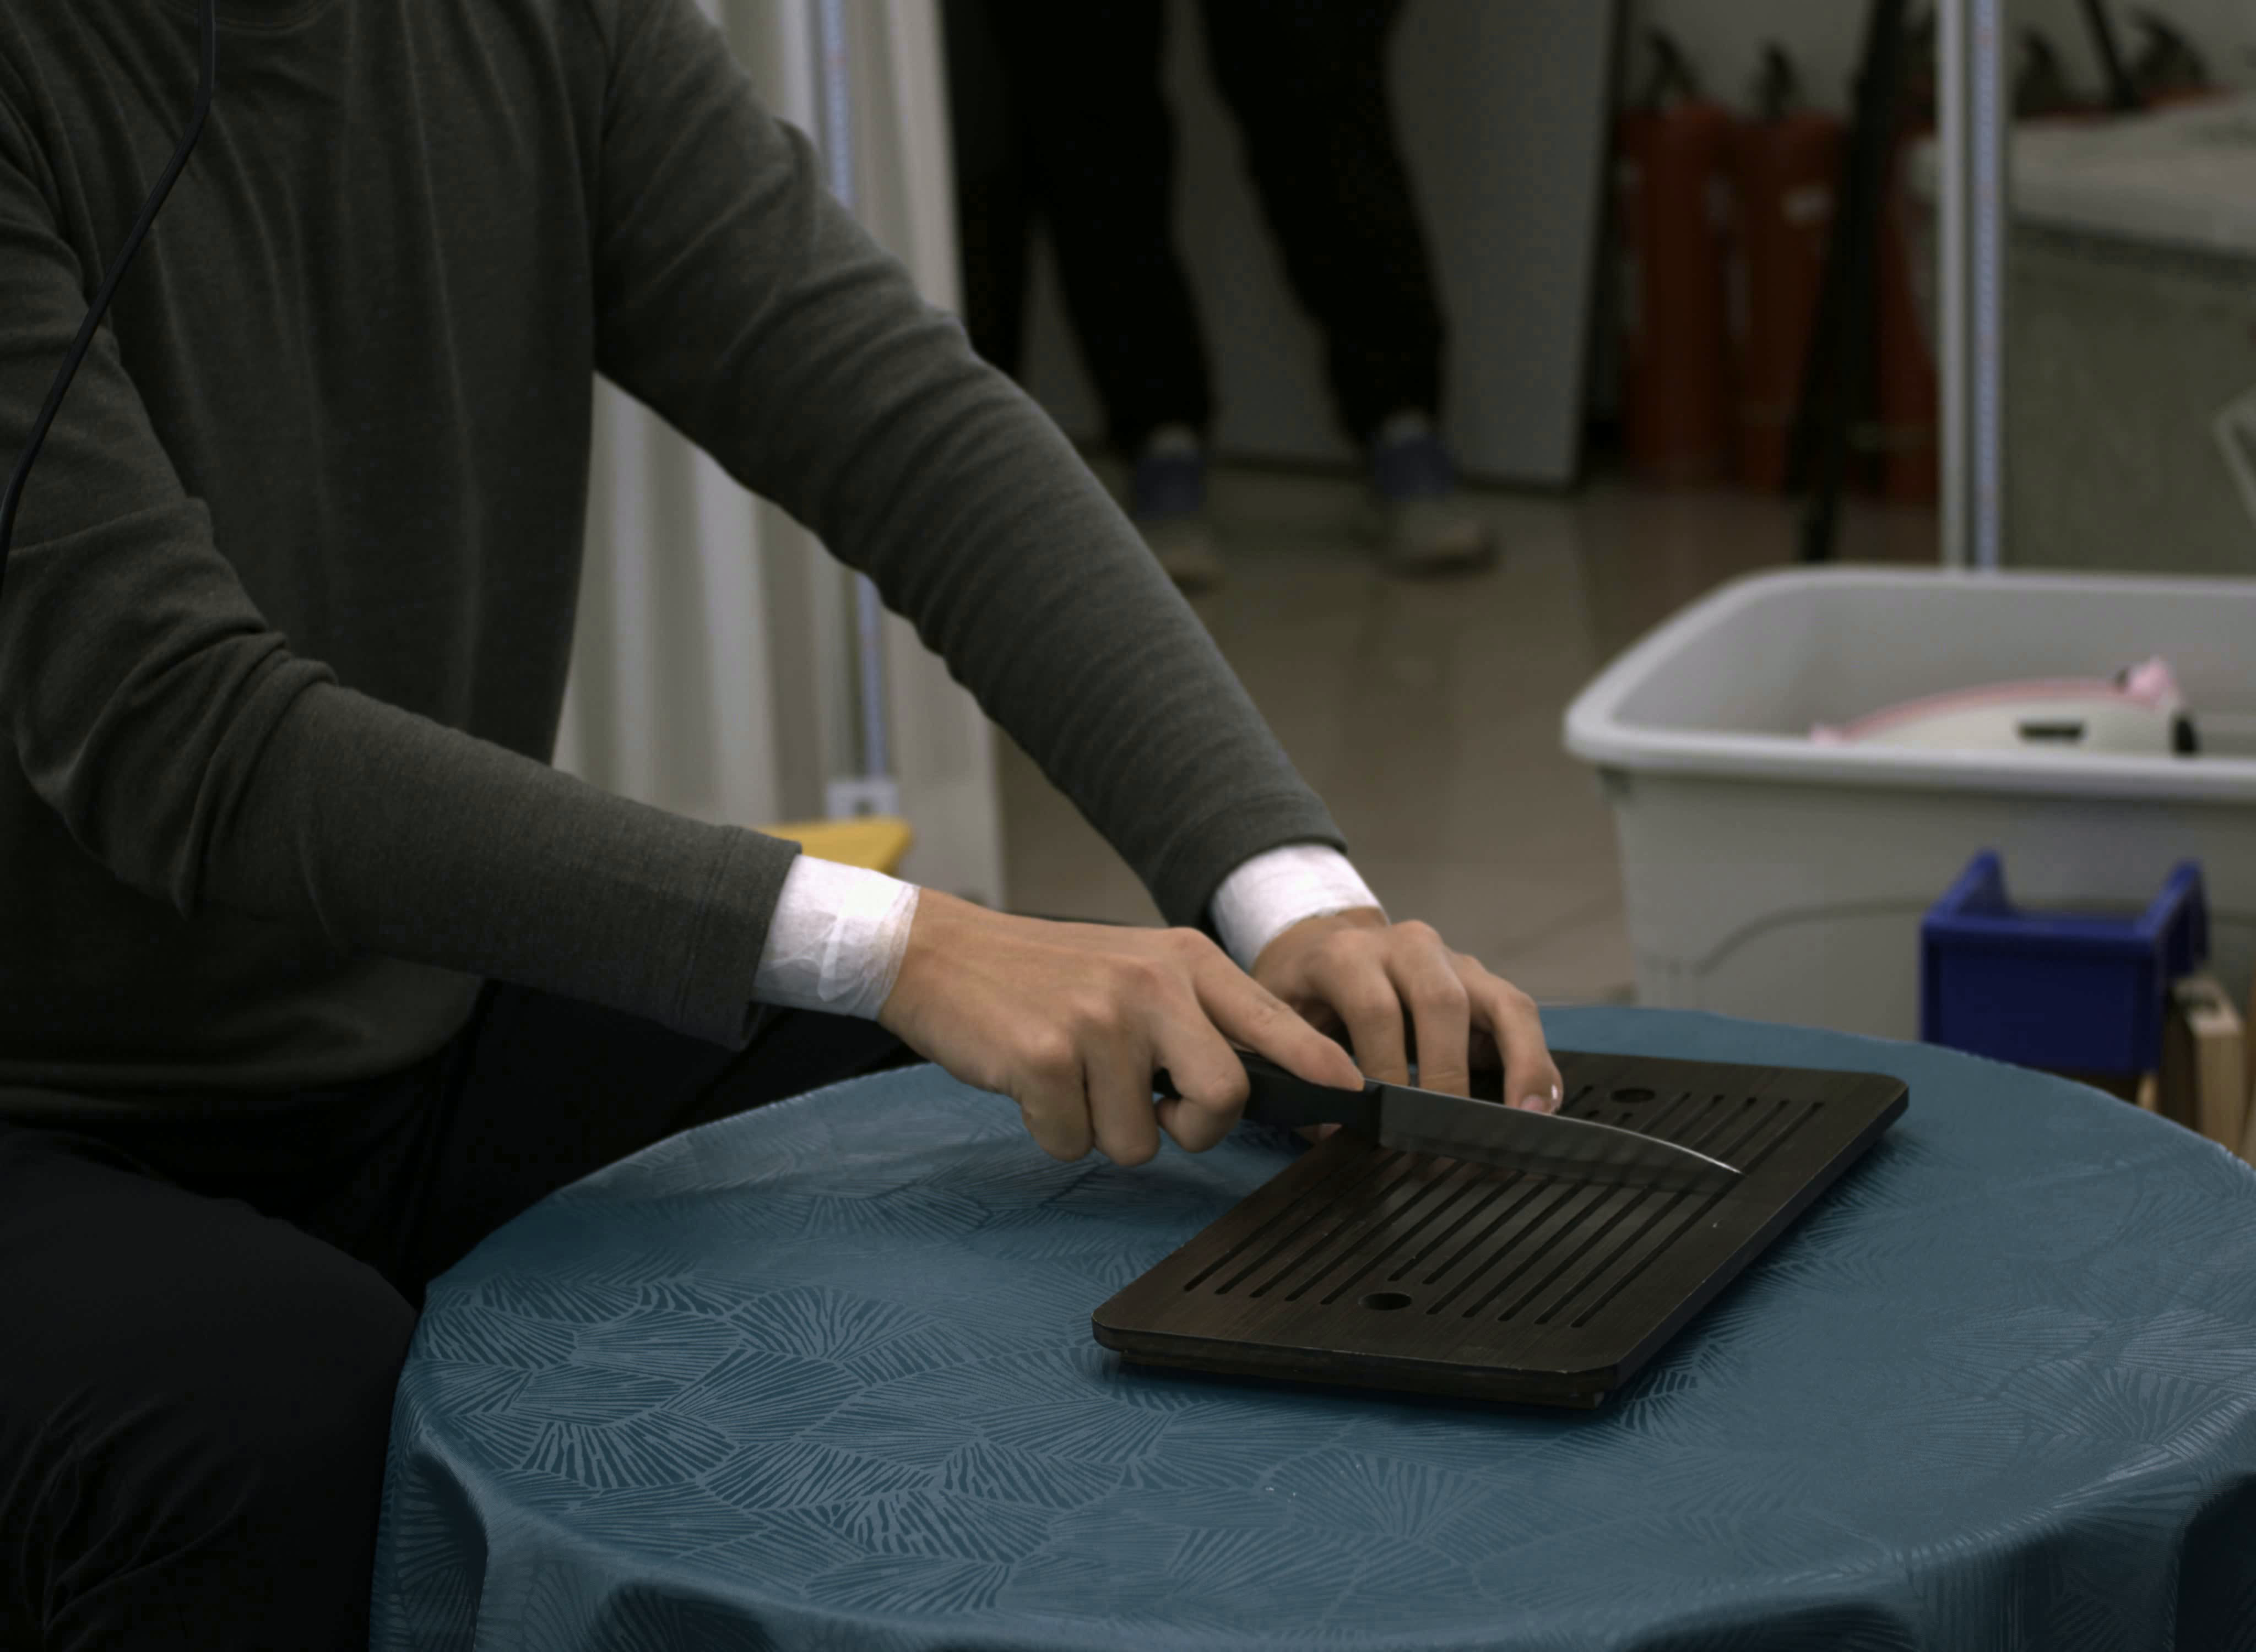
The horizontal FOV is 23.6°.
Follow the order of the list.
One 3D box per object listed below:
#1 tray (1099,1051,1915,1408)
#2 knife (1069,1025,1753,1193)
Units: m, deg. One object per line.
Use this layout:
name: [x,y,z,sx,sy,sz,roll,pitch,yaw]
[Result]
tray: [0.126,0.124,1.691,0.170,0.019,0.302,2,14,26]
knife: [0.089,0.091,1.721,0.238,0.025,0.016,10,11,25]
